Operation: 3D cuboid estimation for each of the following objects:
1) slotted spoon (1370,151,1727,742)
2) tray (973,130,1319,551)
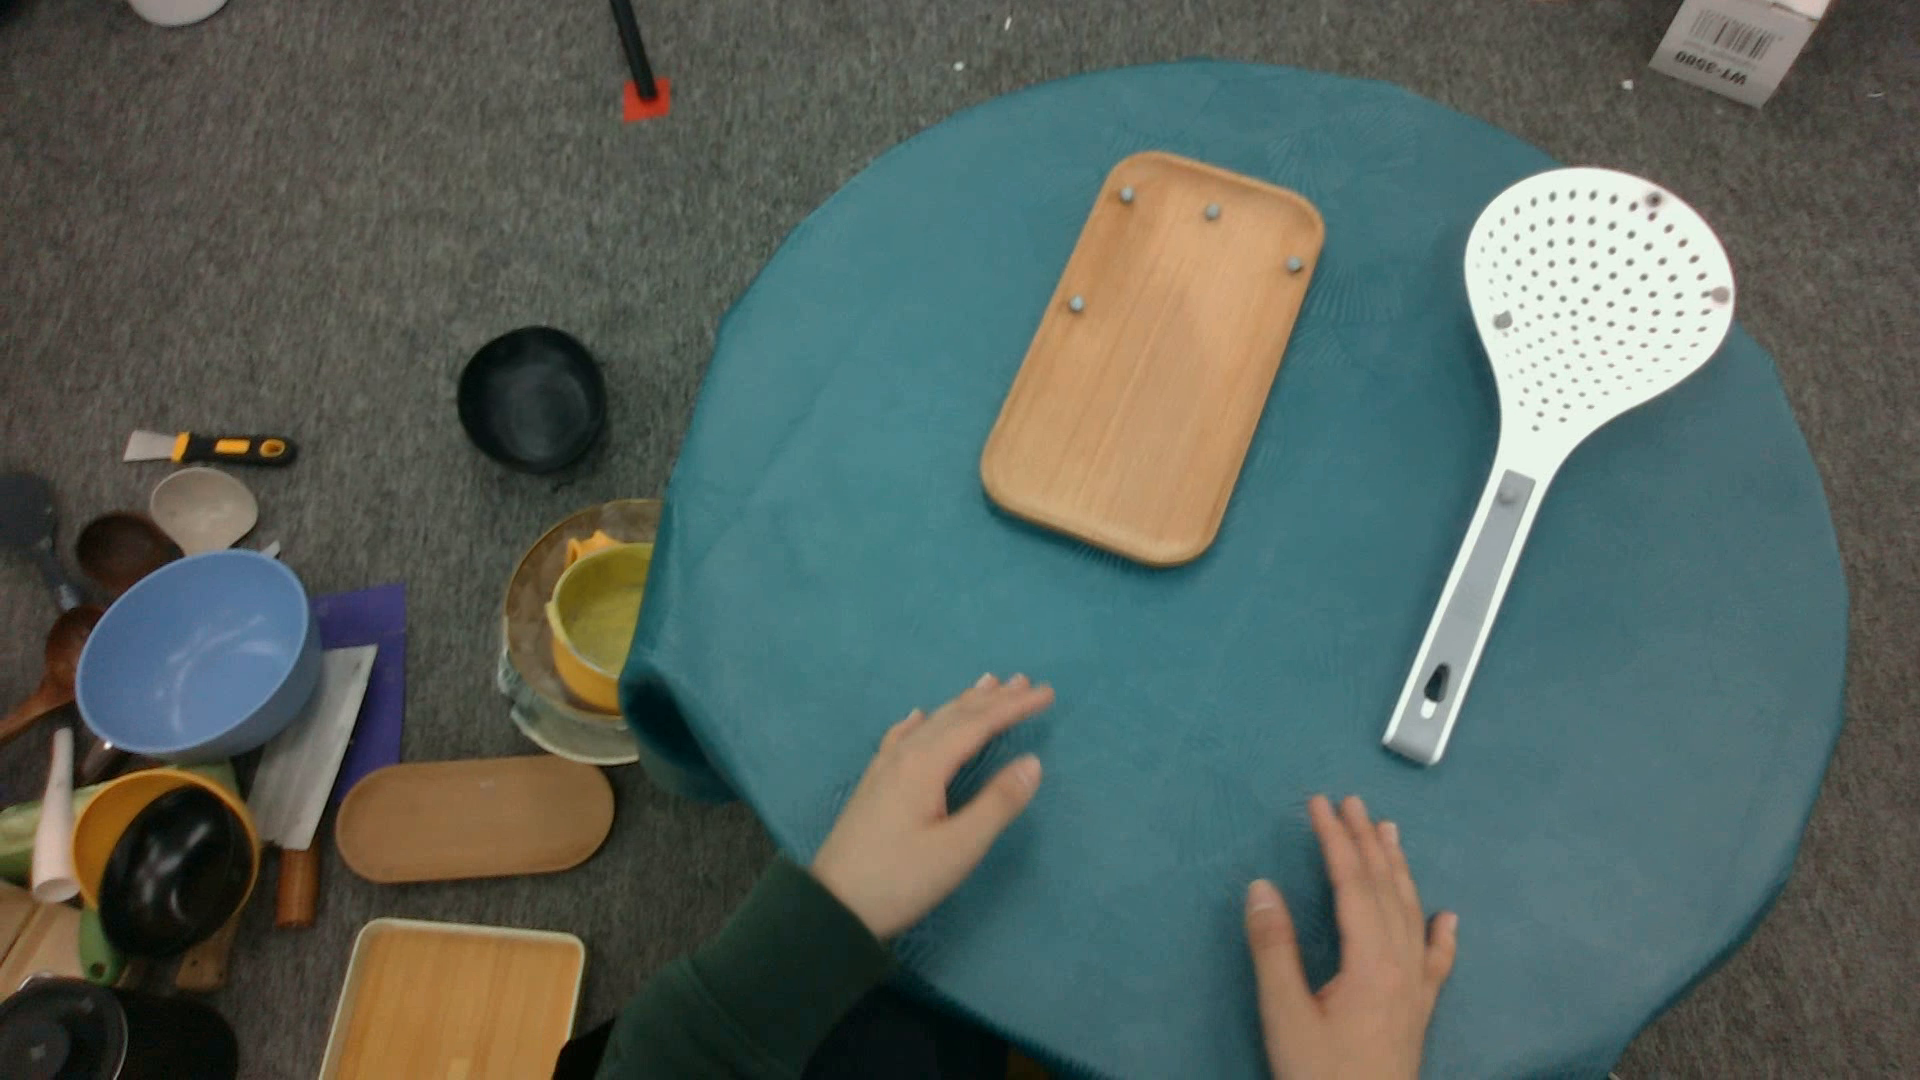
[{"bbox_3d":[0.286,-0.055,0.704,0.136,0.045,0.351,24,68,12],"label":"slotted spoon"},{"bbox_3d":[0.104,-0.114,0.744,0.130,0.023,0.251,20,68,10],"label":"tray"}]
